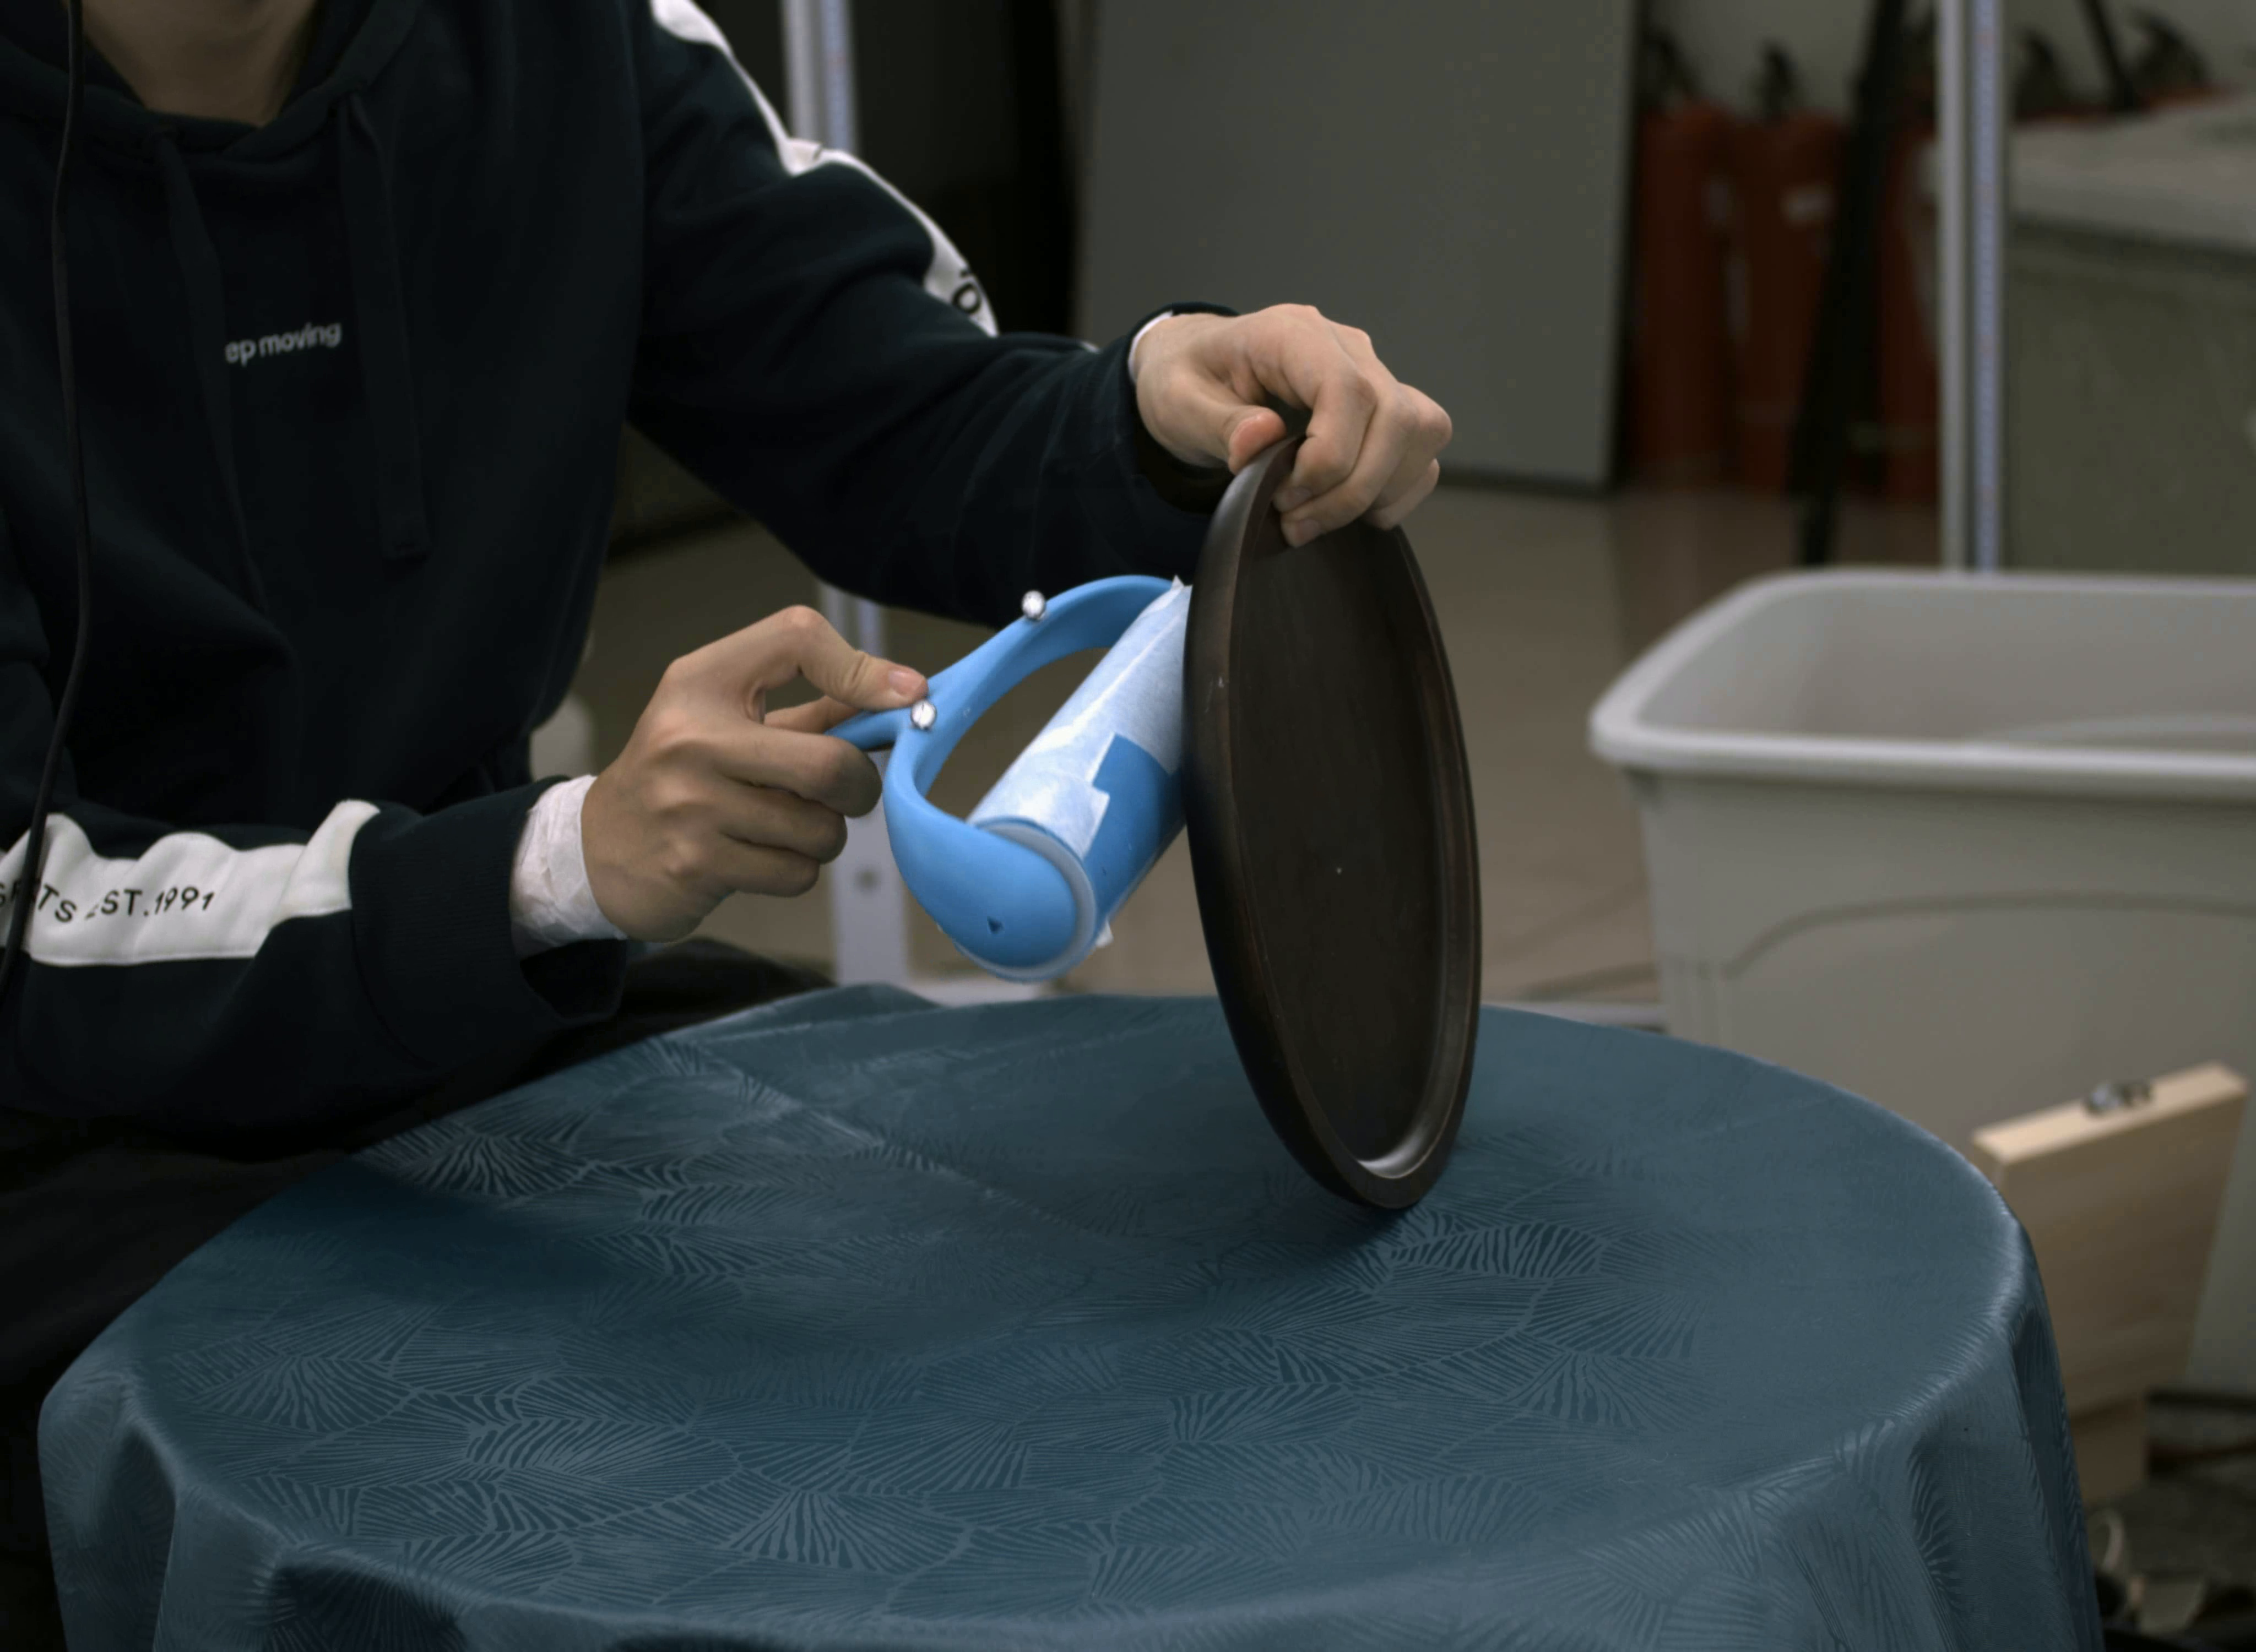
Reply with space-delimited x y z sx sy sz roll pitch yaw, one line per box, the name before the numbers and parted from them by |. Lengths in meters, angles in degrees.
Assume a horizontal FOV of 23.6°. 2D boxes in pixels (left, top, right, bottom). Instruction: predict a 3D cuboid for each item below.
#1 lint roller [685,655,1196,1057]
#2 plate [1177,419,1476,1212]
lint roller | -0.060 0.007 1.705 0.180 0.068 0.227 1 23 17
plate | 0.066 -0.002 1.732 0.029 0.257 0.252 -7 11 19
